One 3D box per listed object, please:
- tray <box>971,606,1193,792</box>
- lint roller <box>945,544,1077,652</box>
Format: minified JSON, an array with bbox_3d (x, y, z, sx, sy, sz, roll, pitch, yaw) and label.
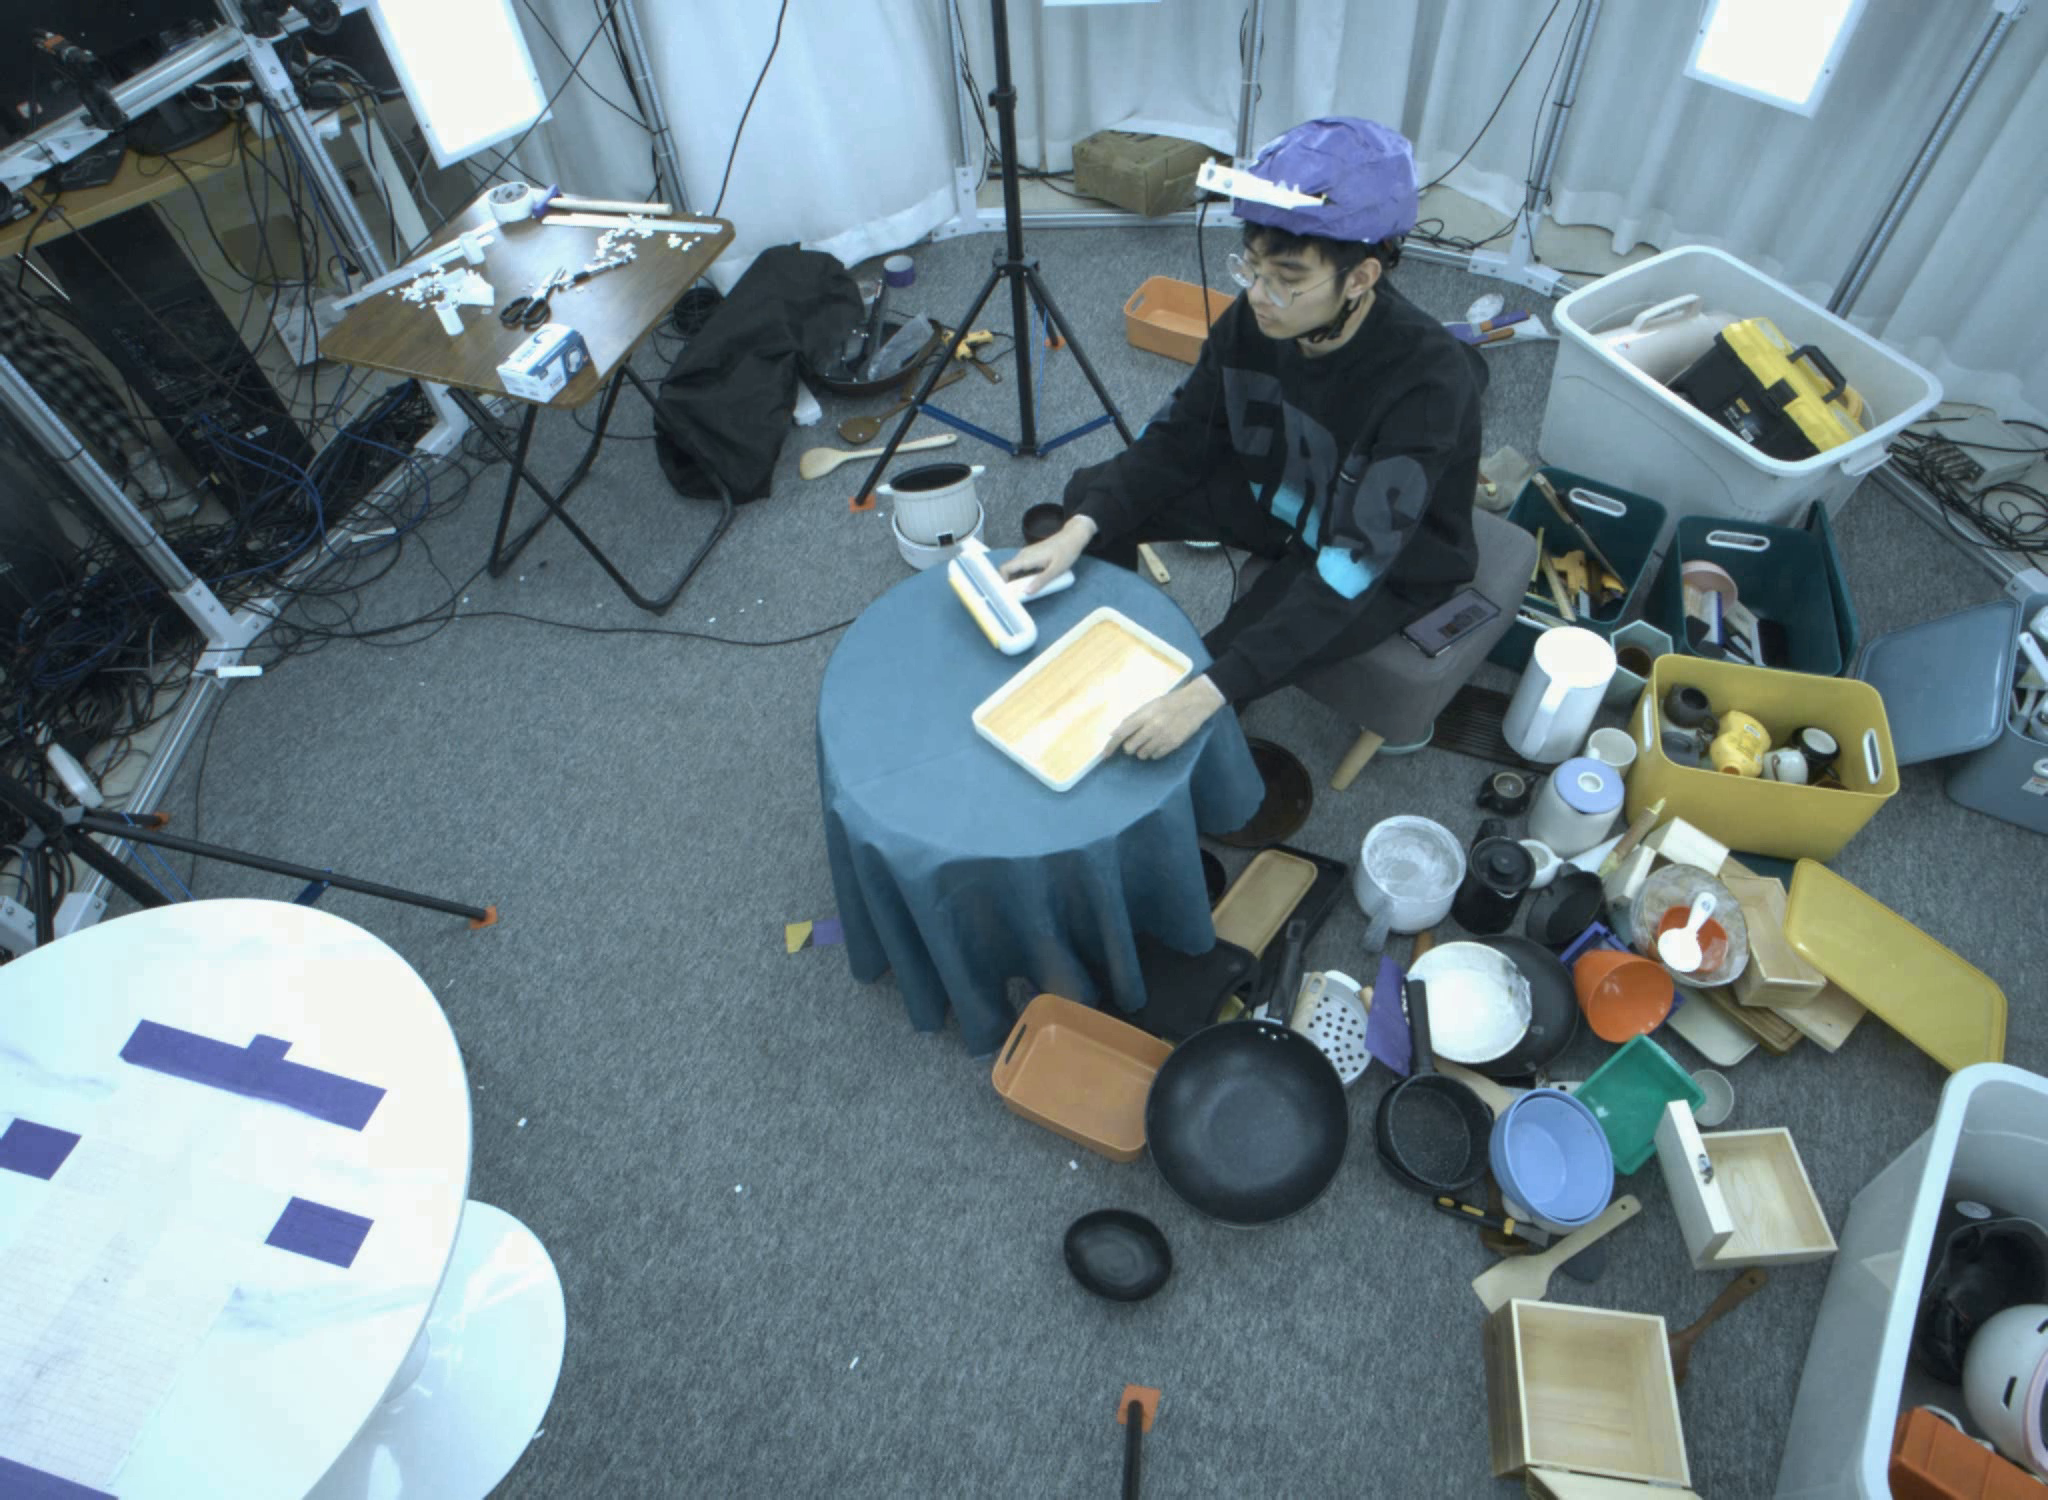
[{"bbox_3d":[0.088,-0.081,1.821,0.188,0.028,0.302,38,64,24],"label":"tray"},{"bbox_3d":[-0.004,-0.254,1.922,0.194,0.074,0.190,-25,64,-17],"label":"lint roller"}]
